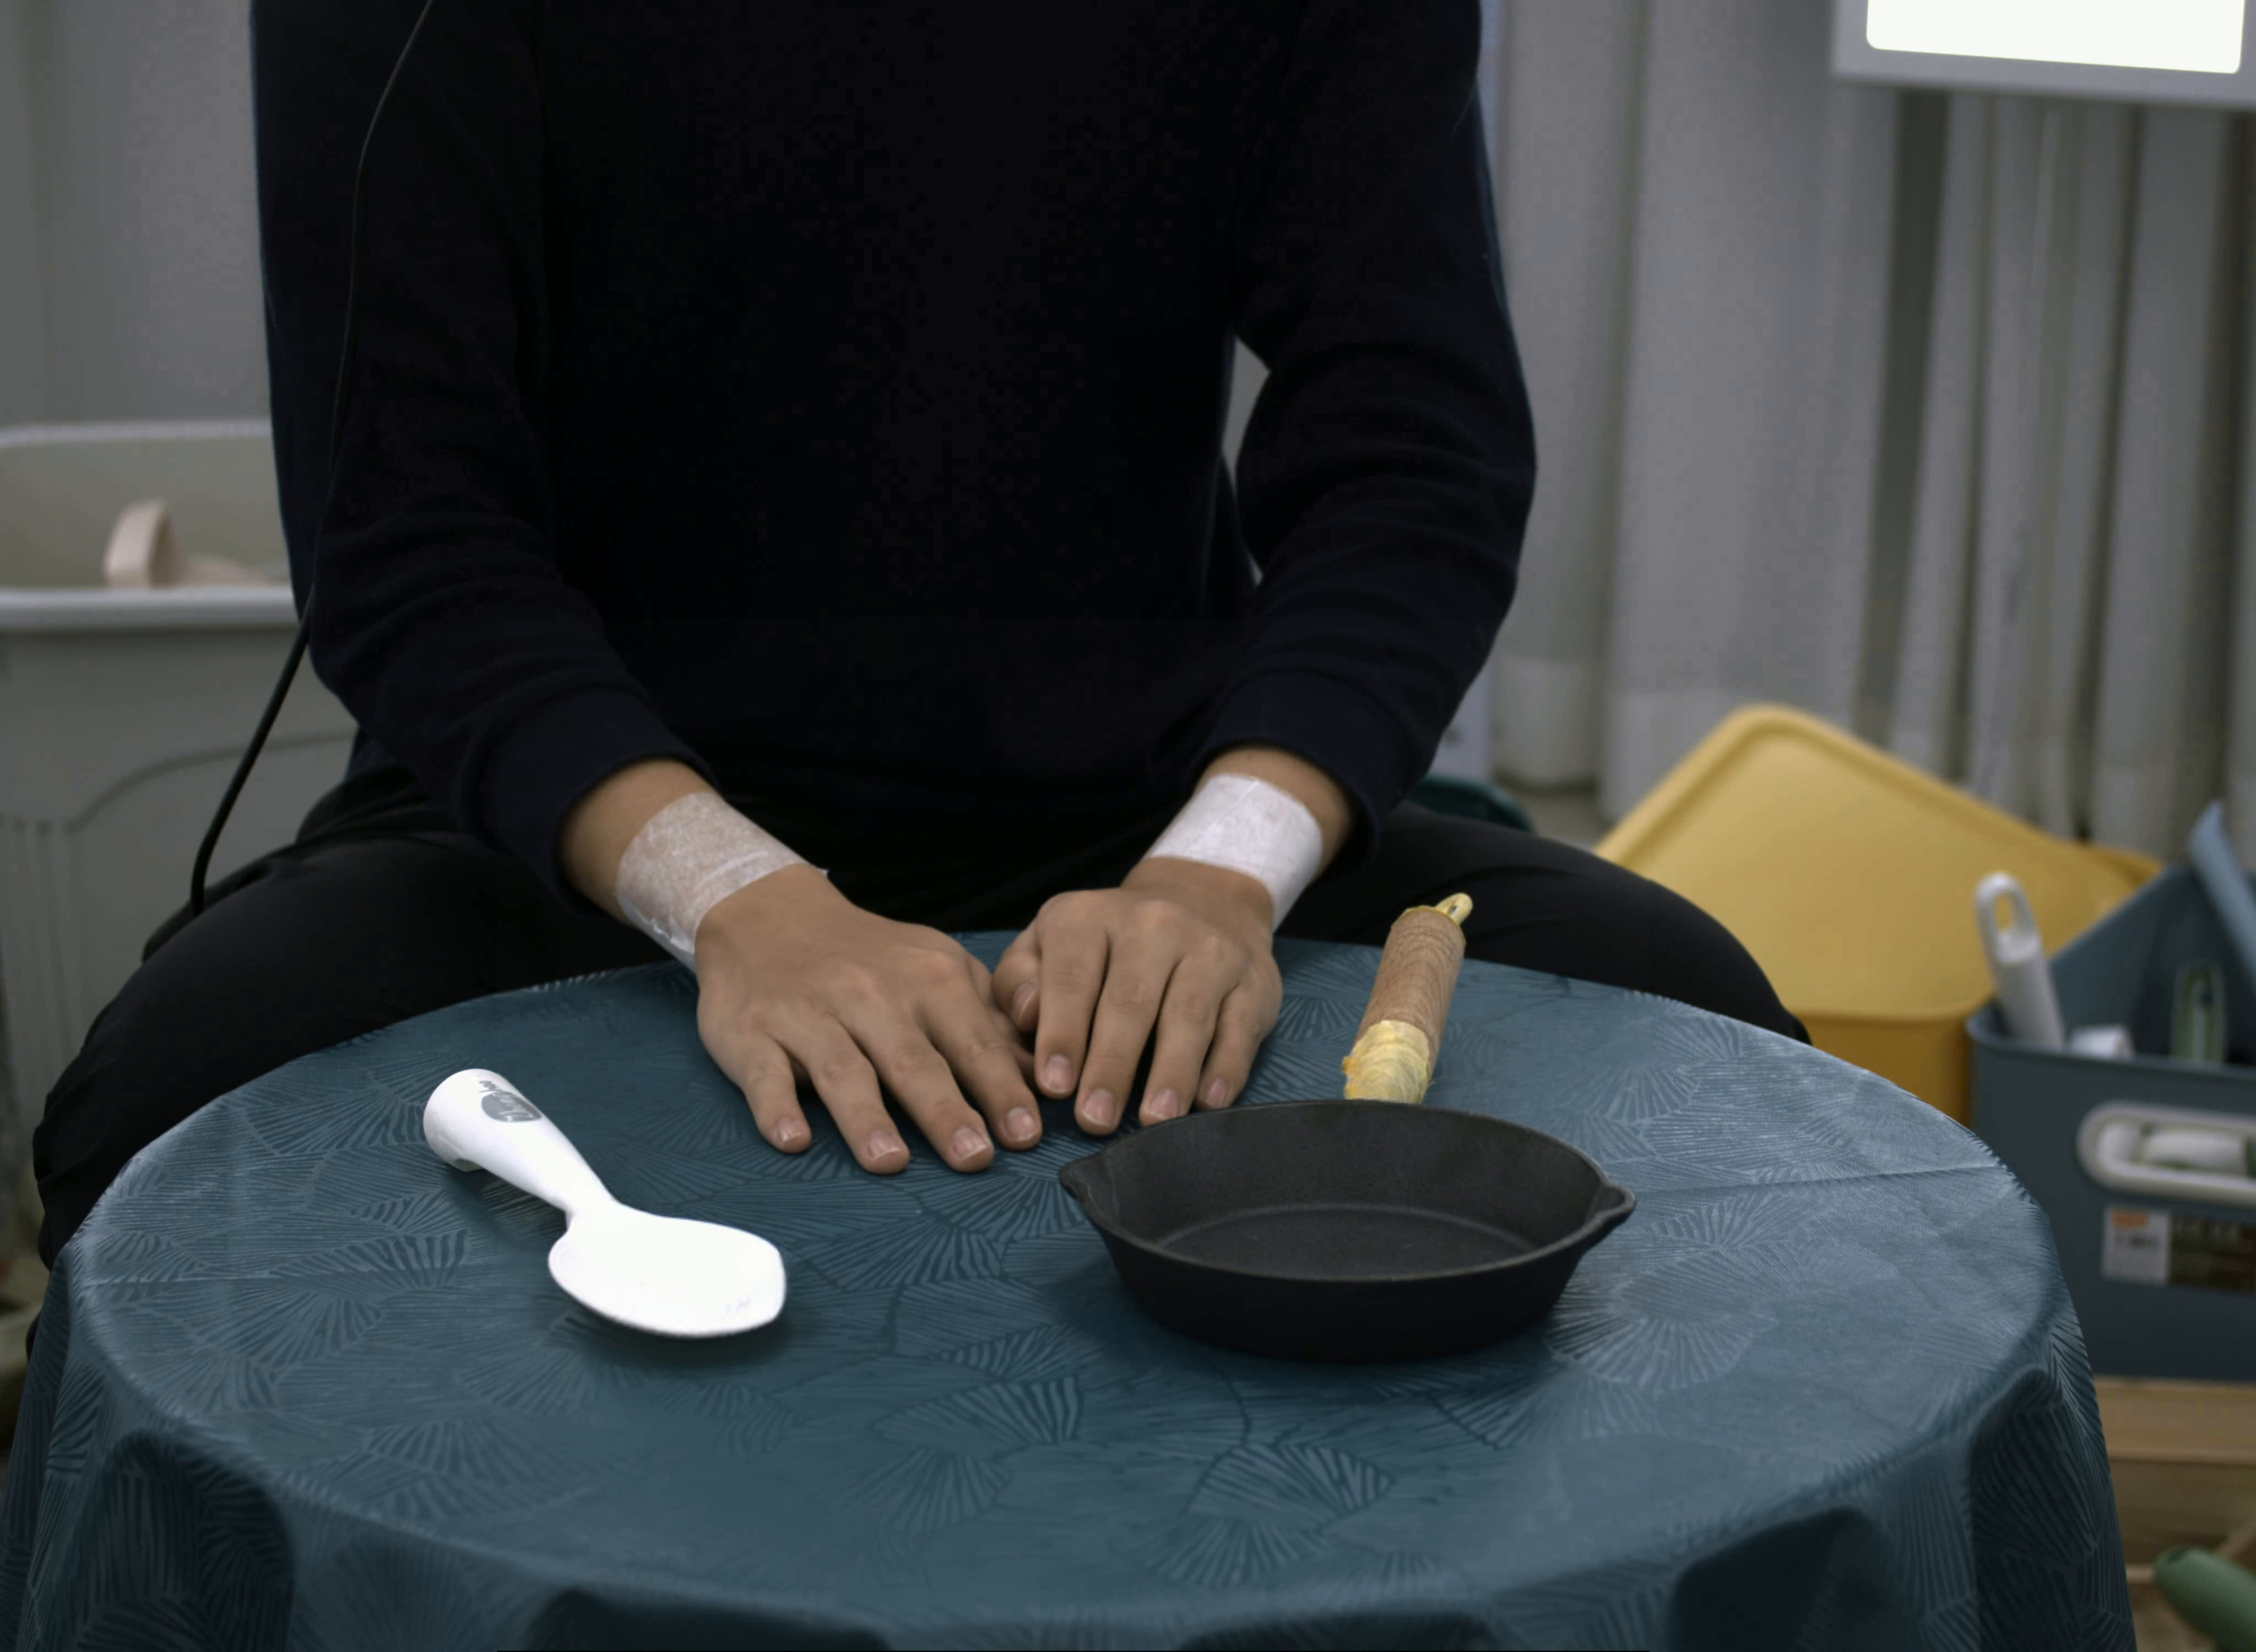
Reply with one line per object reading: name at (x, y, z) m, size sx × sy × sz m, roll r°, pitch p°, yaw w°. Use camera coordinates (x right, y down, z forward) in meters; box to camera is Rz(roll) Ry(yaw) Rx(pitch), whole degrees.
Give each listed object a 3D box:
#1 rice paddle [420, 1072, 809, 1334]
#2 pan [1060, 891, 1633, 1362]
rice paddle at (-0.157, 0.113, 1.559) m, size 0.069 × 0.029 × 0.202 m, roll -10°, pitch 18°, yaw -28°
pan at (0.079, 0.088, 1.616) m, size 0.168 × 0.050 × 0.323 m, roll 3°, pitch 17°, yaw 10°
